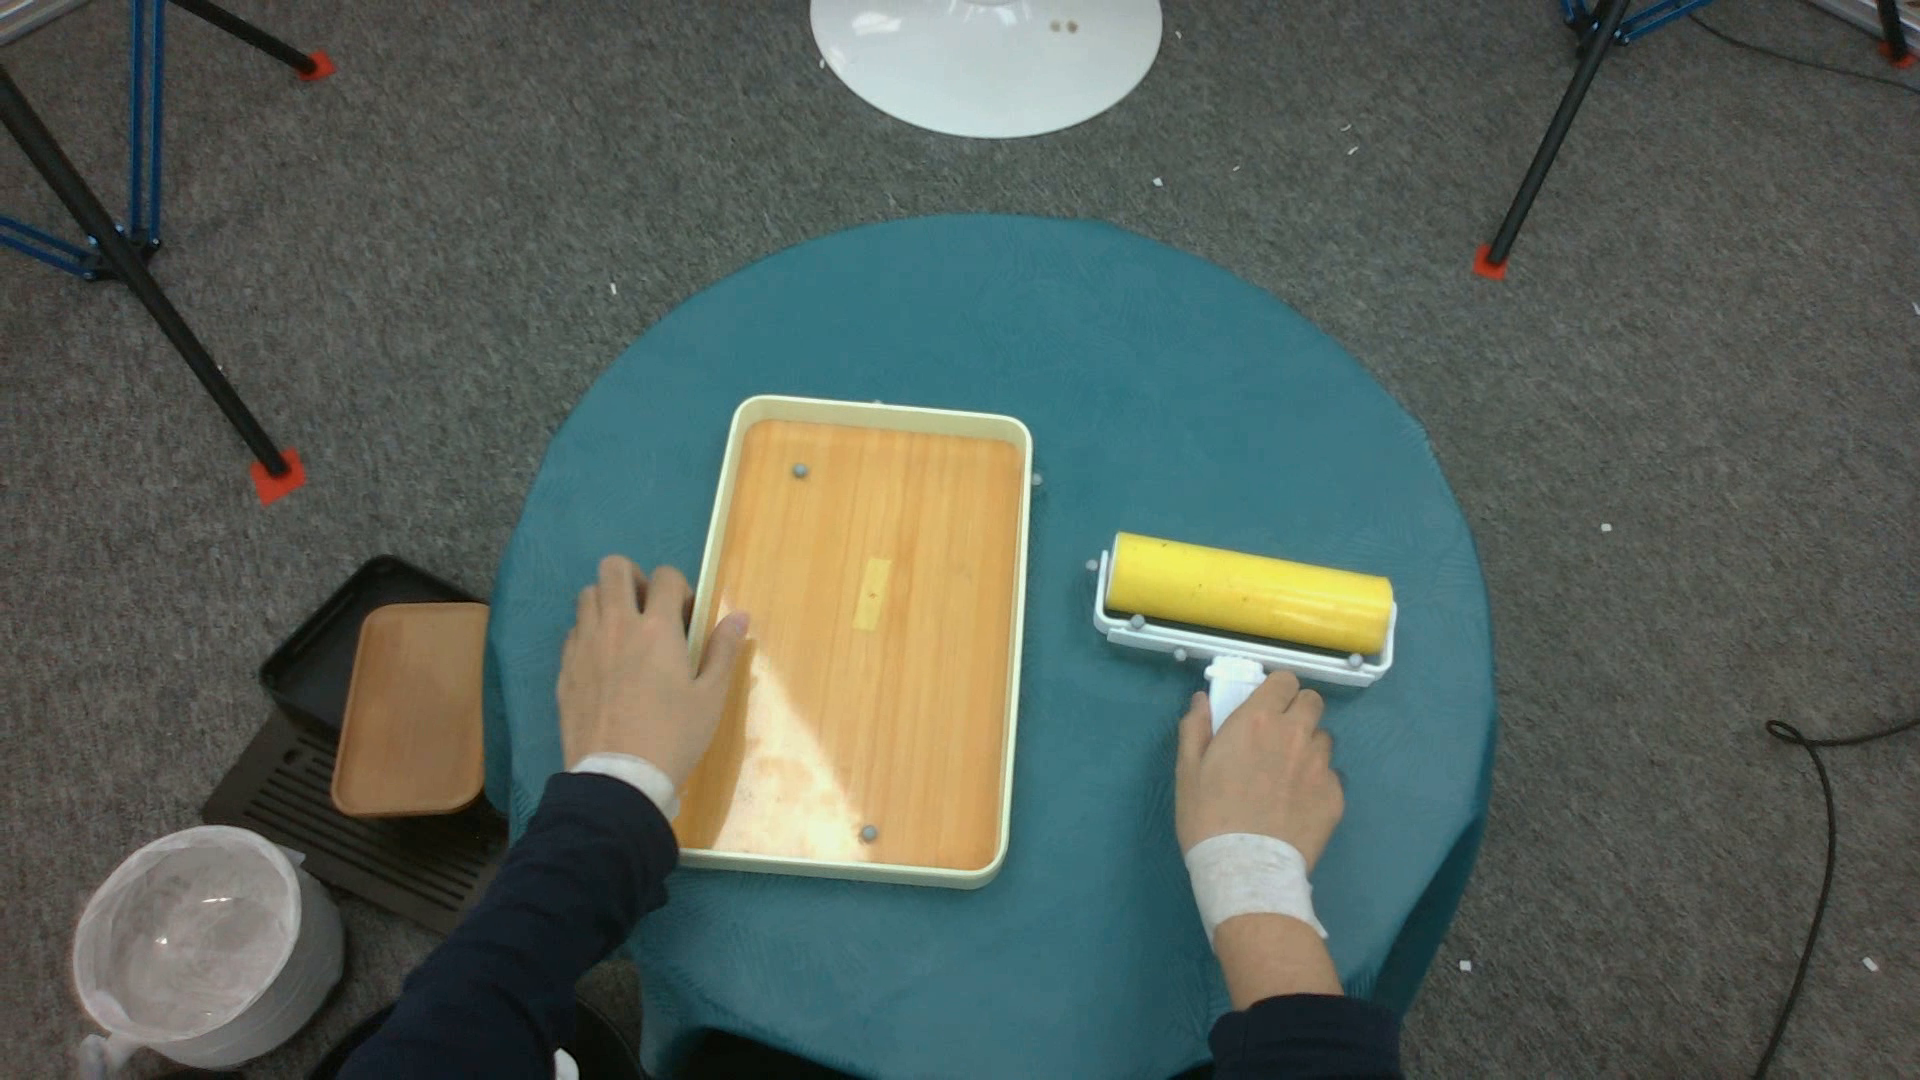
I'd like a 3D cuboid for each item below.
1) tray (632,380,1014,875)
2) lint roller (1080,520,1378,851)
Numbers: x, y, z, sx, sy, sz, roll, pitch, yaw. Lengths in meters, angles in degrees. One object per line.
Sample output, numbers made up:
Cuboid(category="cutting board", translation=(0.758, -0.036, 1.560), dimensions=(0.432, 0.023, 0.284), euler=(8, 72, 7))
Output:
Cuboid(category="tray", translation=(-0.070, 0.040, 0.805), dimensions=(0.191, 0.027, 0.301), euler=(5, 60, 0))
Cuboid(category="lint roller", translation=(0.150, 0.077, 0.772), dimensions=(0.174, 0.051, 0.193), euler=(9, 49, 2))
